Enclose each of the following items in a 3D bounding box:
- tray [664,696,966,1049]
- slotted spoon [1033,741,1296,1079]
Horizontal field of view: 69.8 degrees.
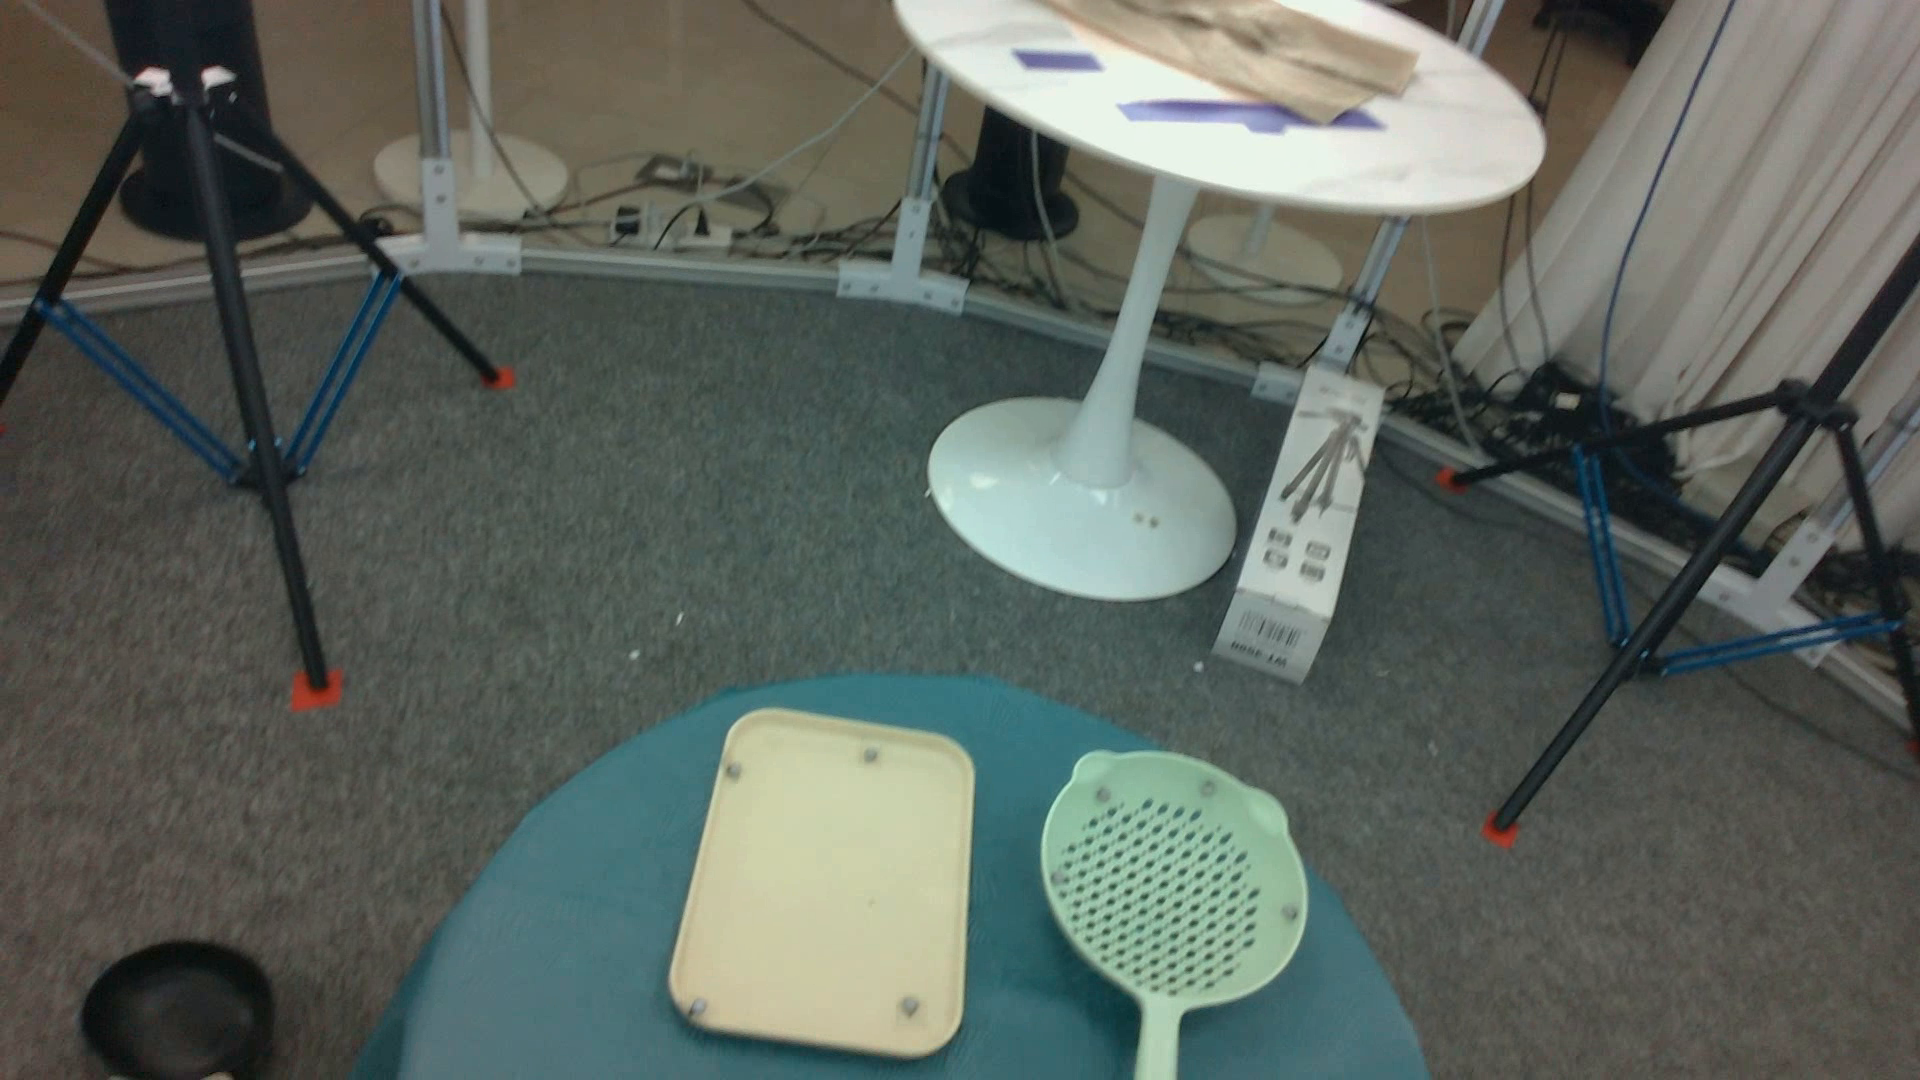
[{"bbox_3d":[-0.084,0.201,0.865,0.171,0.017,0.241,10,42,-5],"label":"tray"},{"bbox_3d":[0.108,0.278,0.801,0.169,0.075,0.360,14,41,0],"label":"slotted spoon"}]
